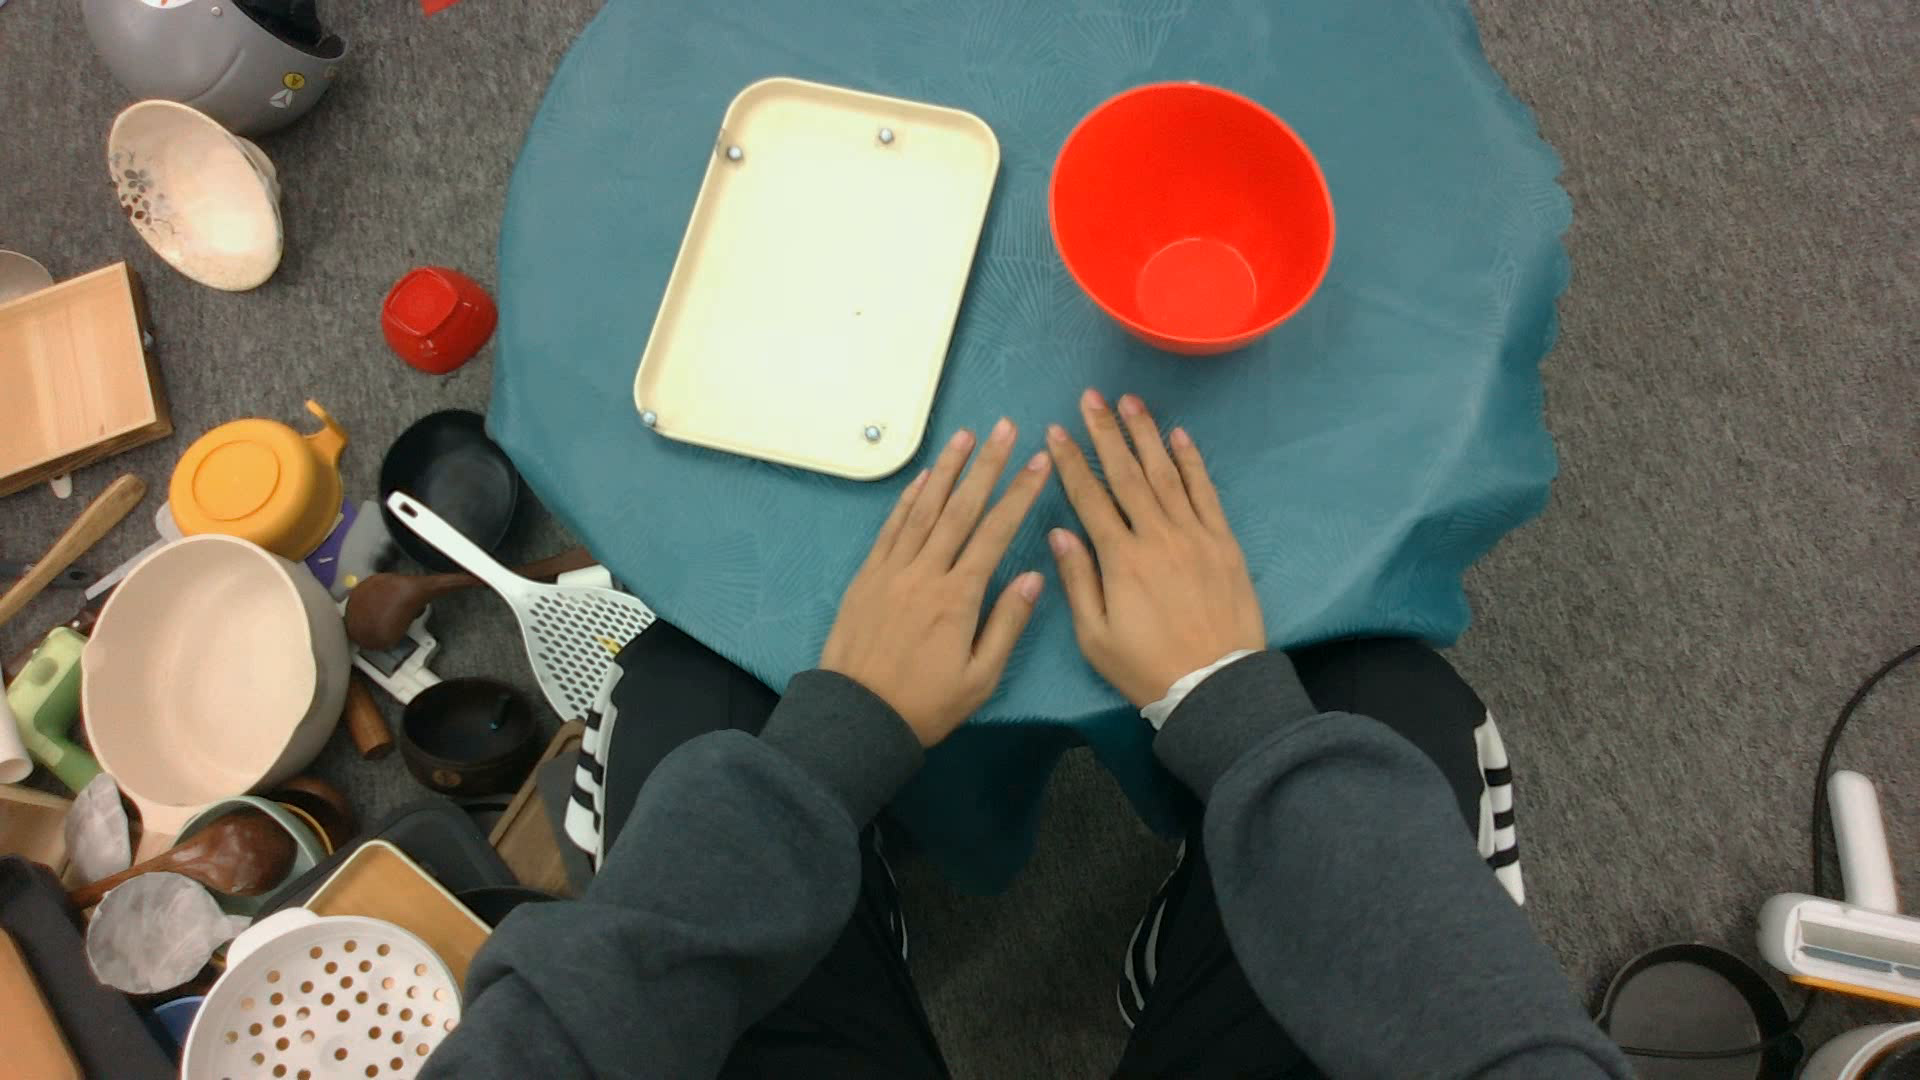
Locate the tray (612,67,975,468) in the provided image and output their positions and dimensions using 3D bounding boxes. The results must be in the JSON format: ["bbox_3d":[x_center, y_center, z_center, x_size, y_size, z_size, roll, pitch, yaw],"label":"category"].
[{"bbox_3d":[-0.094,-0.162,0.802,0.171,0.017,0.240,12,74,6],"label":"tray"}]

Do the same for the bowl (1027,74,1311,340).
[{"bbox_3d":[0.111,-0.166,0.749,0.148,0.104,0.148,-1,71,3],"label":"bowl"}]
